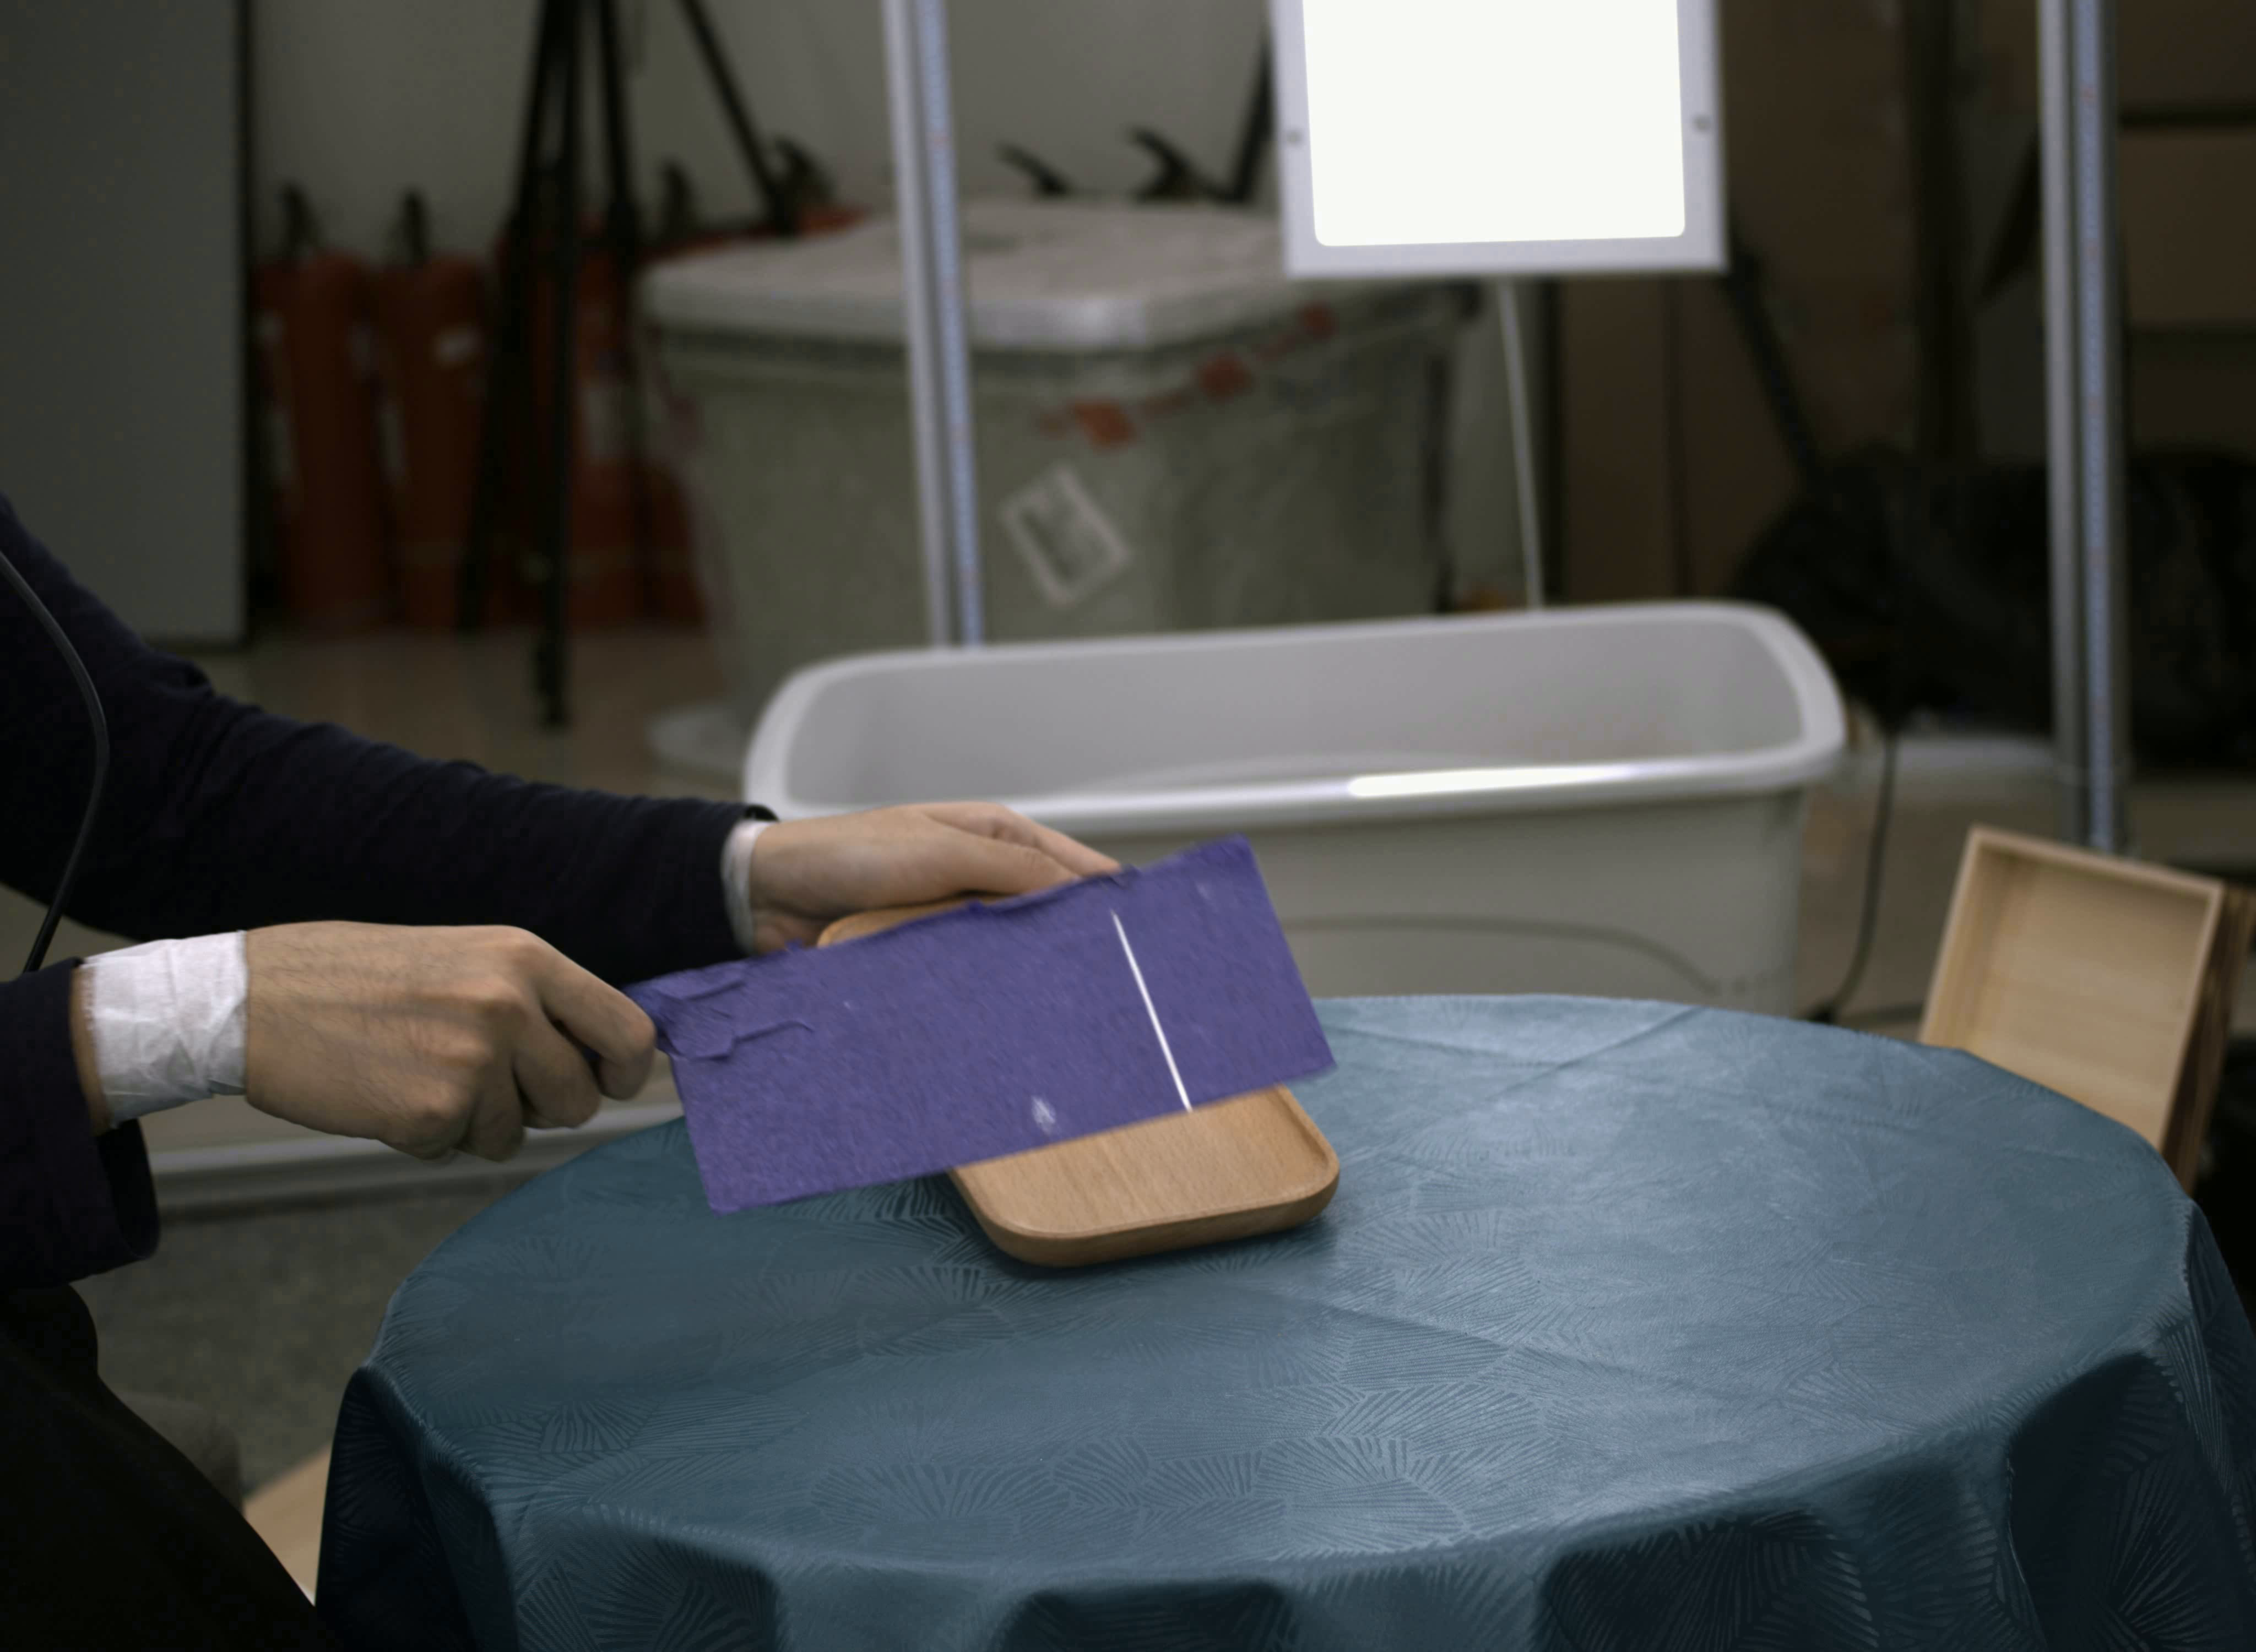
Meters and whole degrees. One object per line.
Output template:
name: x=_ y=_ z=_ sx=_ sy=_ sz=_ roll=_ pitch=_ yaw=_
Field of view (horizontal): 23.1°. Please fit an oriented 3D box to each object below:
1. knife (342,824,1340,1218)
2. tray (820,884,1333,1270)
knife: x=-0.090 y=0.075 z=1.764 sx=0.313 sy=0.032 sz=0.104 roll=-14 pitch=57 yaw=-5
tray: x=-0.021 y=0.085 z=1.935 sx=0.129 sy=0.023 sz=0.252 roll=-10 pitch=29 yaw=-13
